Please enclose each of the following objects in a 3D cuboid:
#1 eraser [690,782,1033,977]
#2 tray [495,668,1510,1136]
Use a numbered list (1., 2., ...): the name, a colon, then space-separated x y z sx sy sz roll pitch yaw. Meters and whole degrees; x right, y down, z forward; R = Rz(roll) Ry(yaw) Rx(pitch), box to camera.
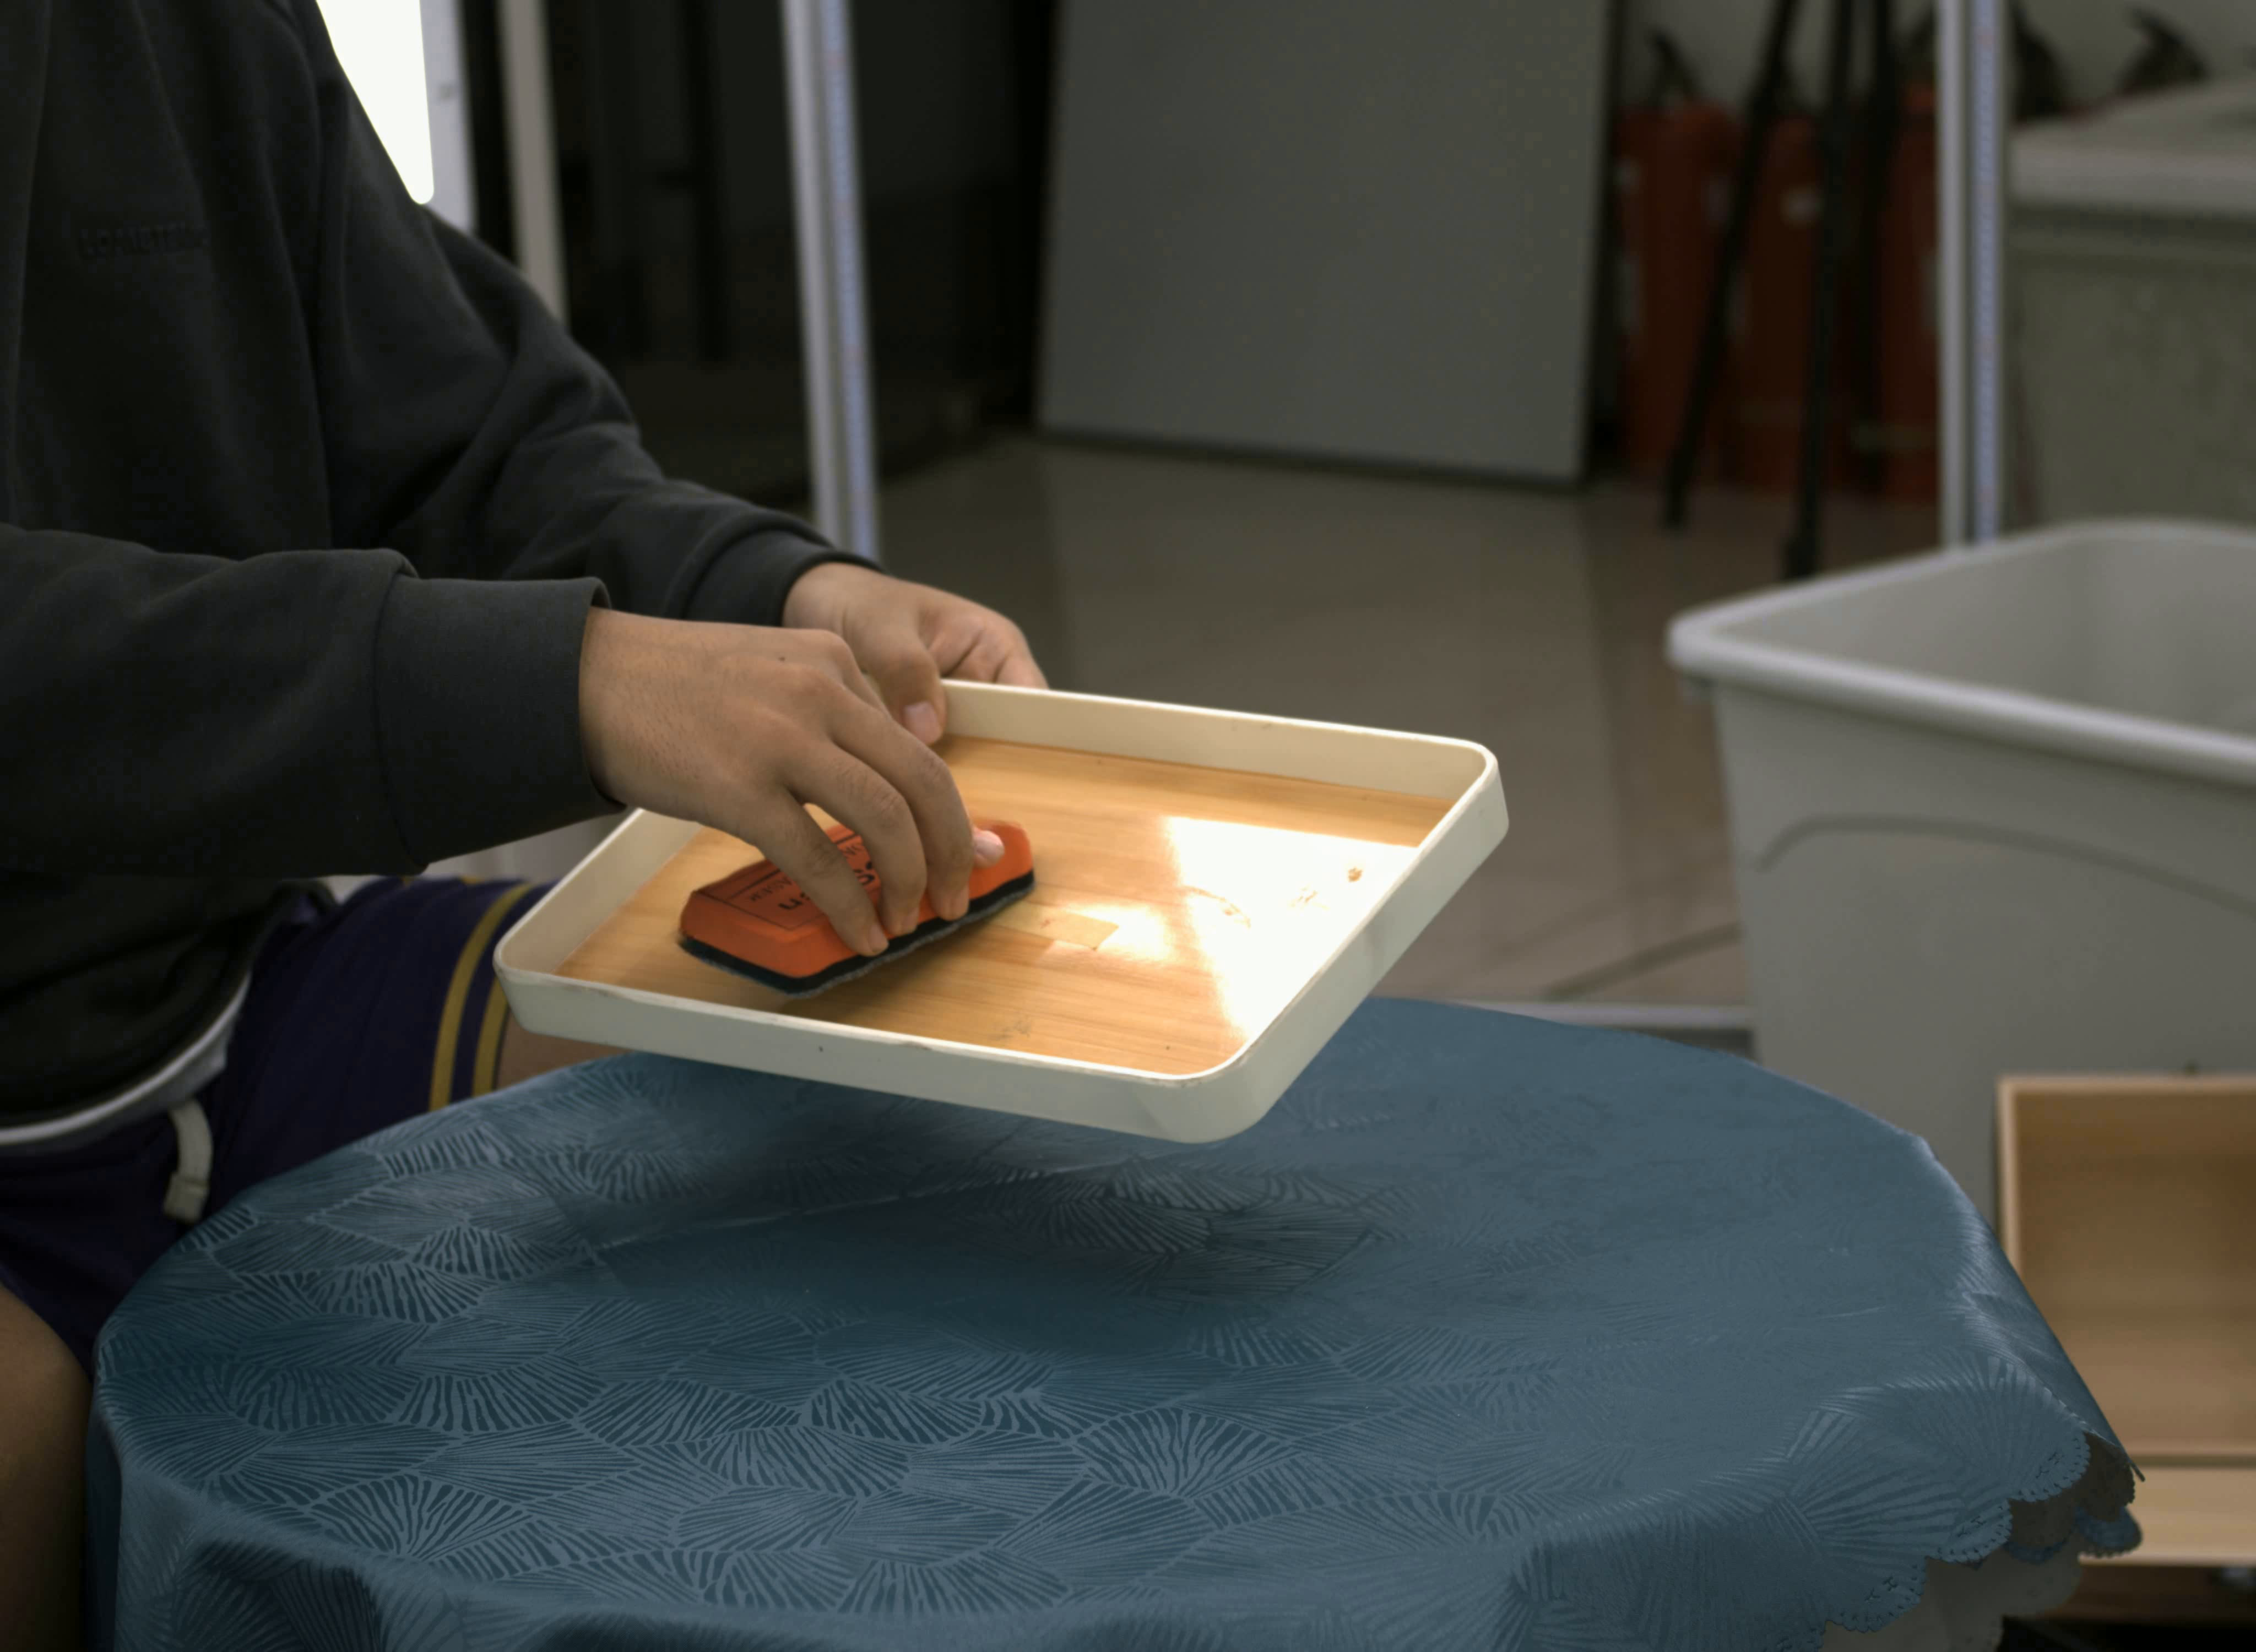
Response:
1. eraser: -0.085 0.016 1.740 0.106 0.023 0.059 -27 21 -35
2. tray: -0.042 0.020 1.746 0.302 0.027 0.190 7 38 36
